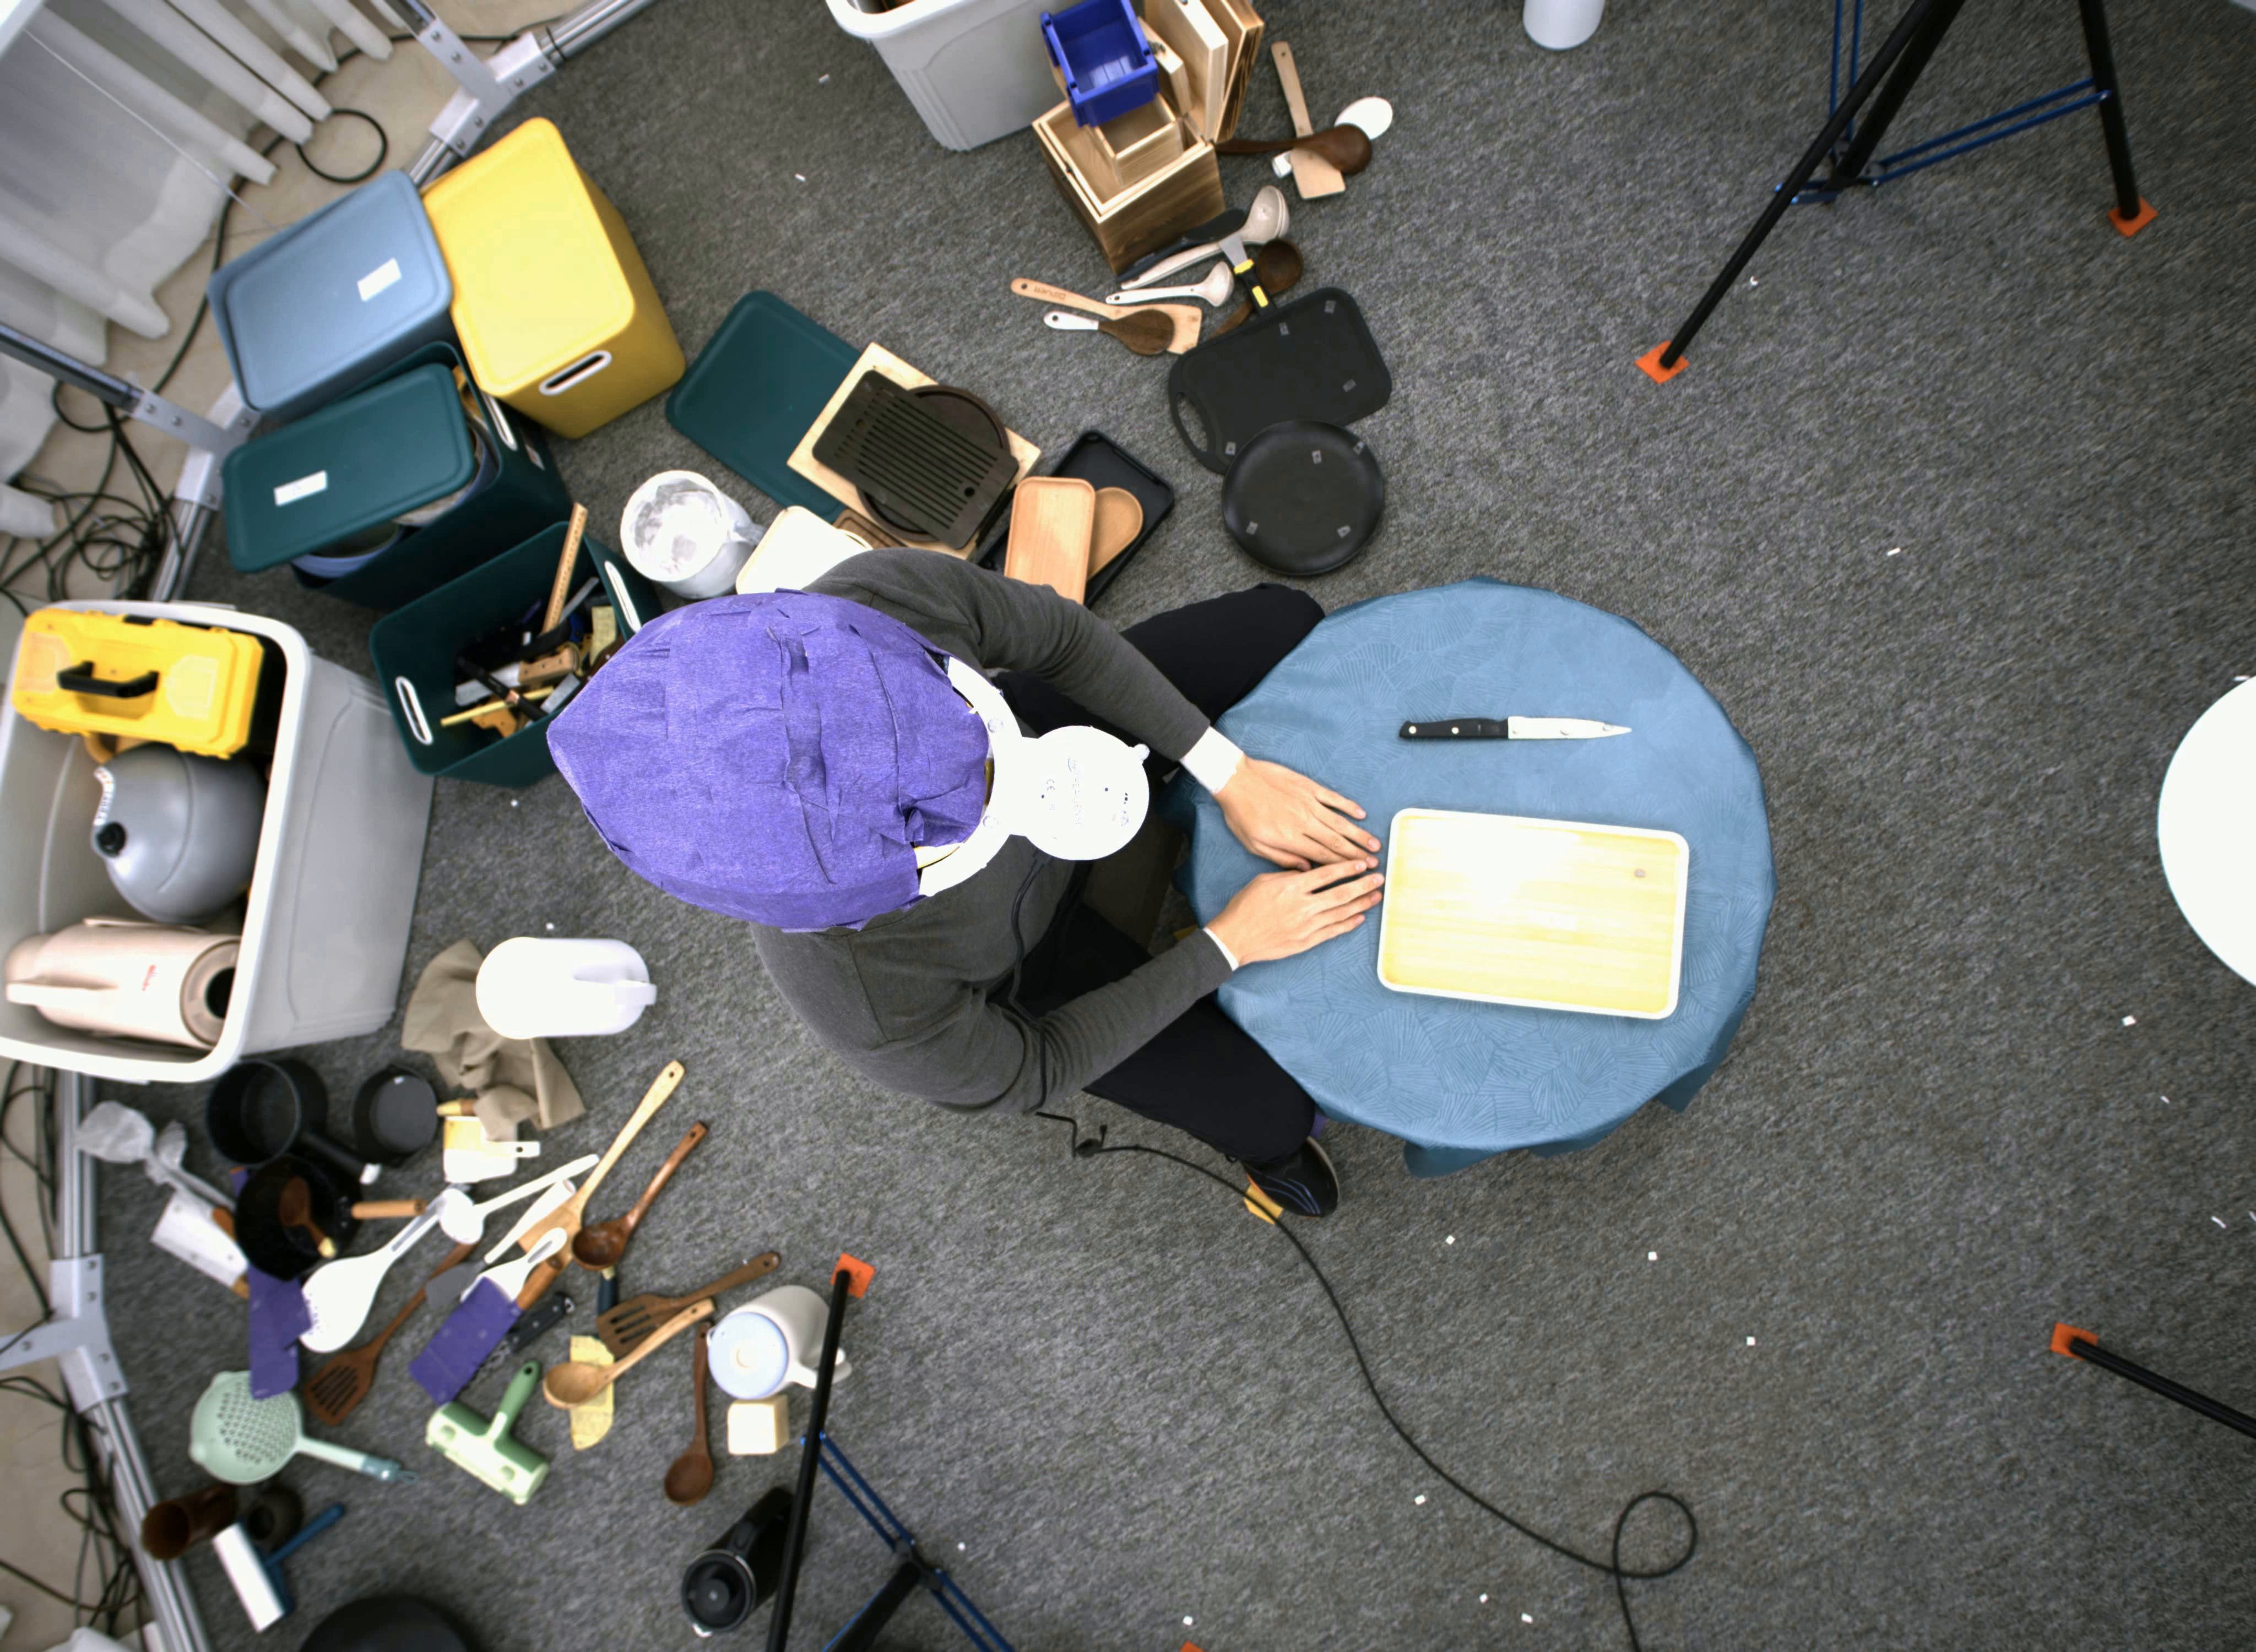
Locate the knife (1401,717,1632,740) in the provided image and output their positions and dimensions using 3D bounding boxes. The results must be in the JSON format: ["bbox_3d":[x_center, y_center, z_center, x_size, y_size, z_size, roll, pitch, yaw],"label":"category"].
[{"bbox_3d":[0.408,-0.105,1.438,0.239,0.016,0.024,-1,89,8],"label":"knife"}]

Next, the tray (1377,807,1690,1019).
[{"bbox_3d":[0.415,0.085,1.419,0.301,0.027,0.191,6,87,11],"label":"tray"}]
